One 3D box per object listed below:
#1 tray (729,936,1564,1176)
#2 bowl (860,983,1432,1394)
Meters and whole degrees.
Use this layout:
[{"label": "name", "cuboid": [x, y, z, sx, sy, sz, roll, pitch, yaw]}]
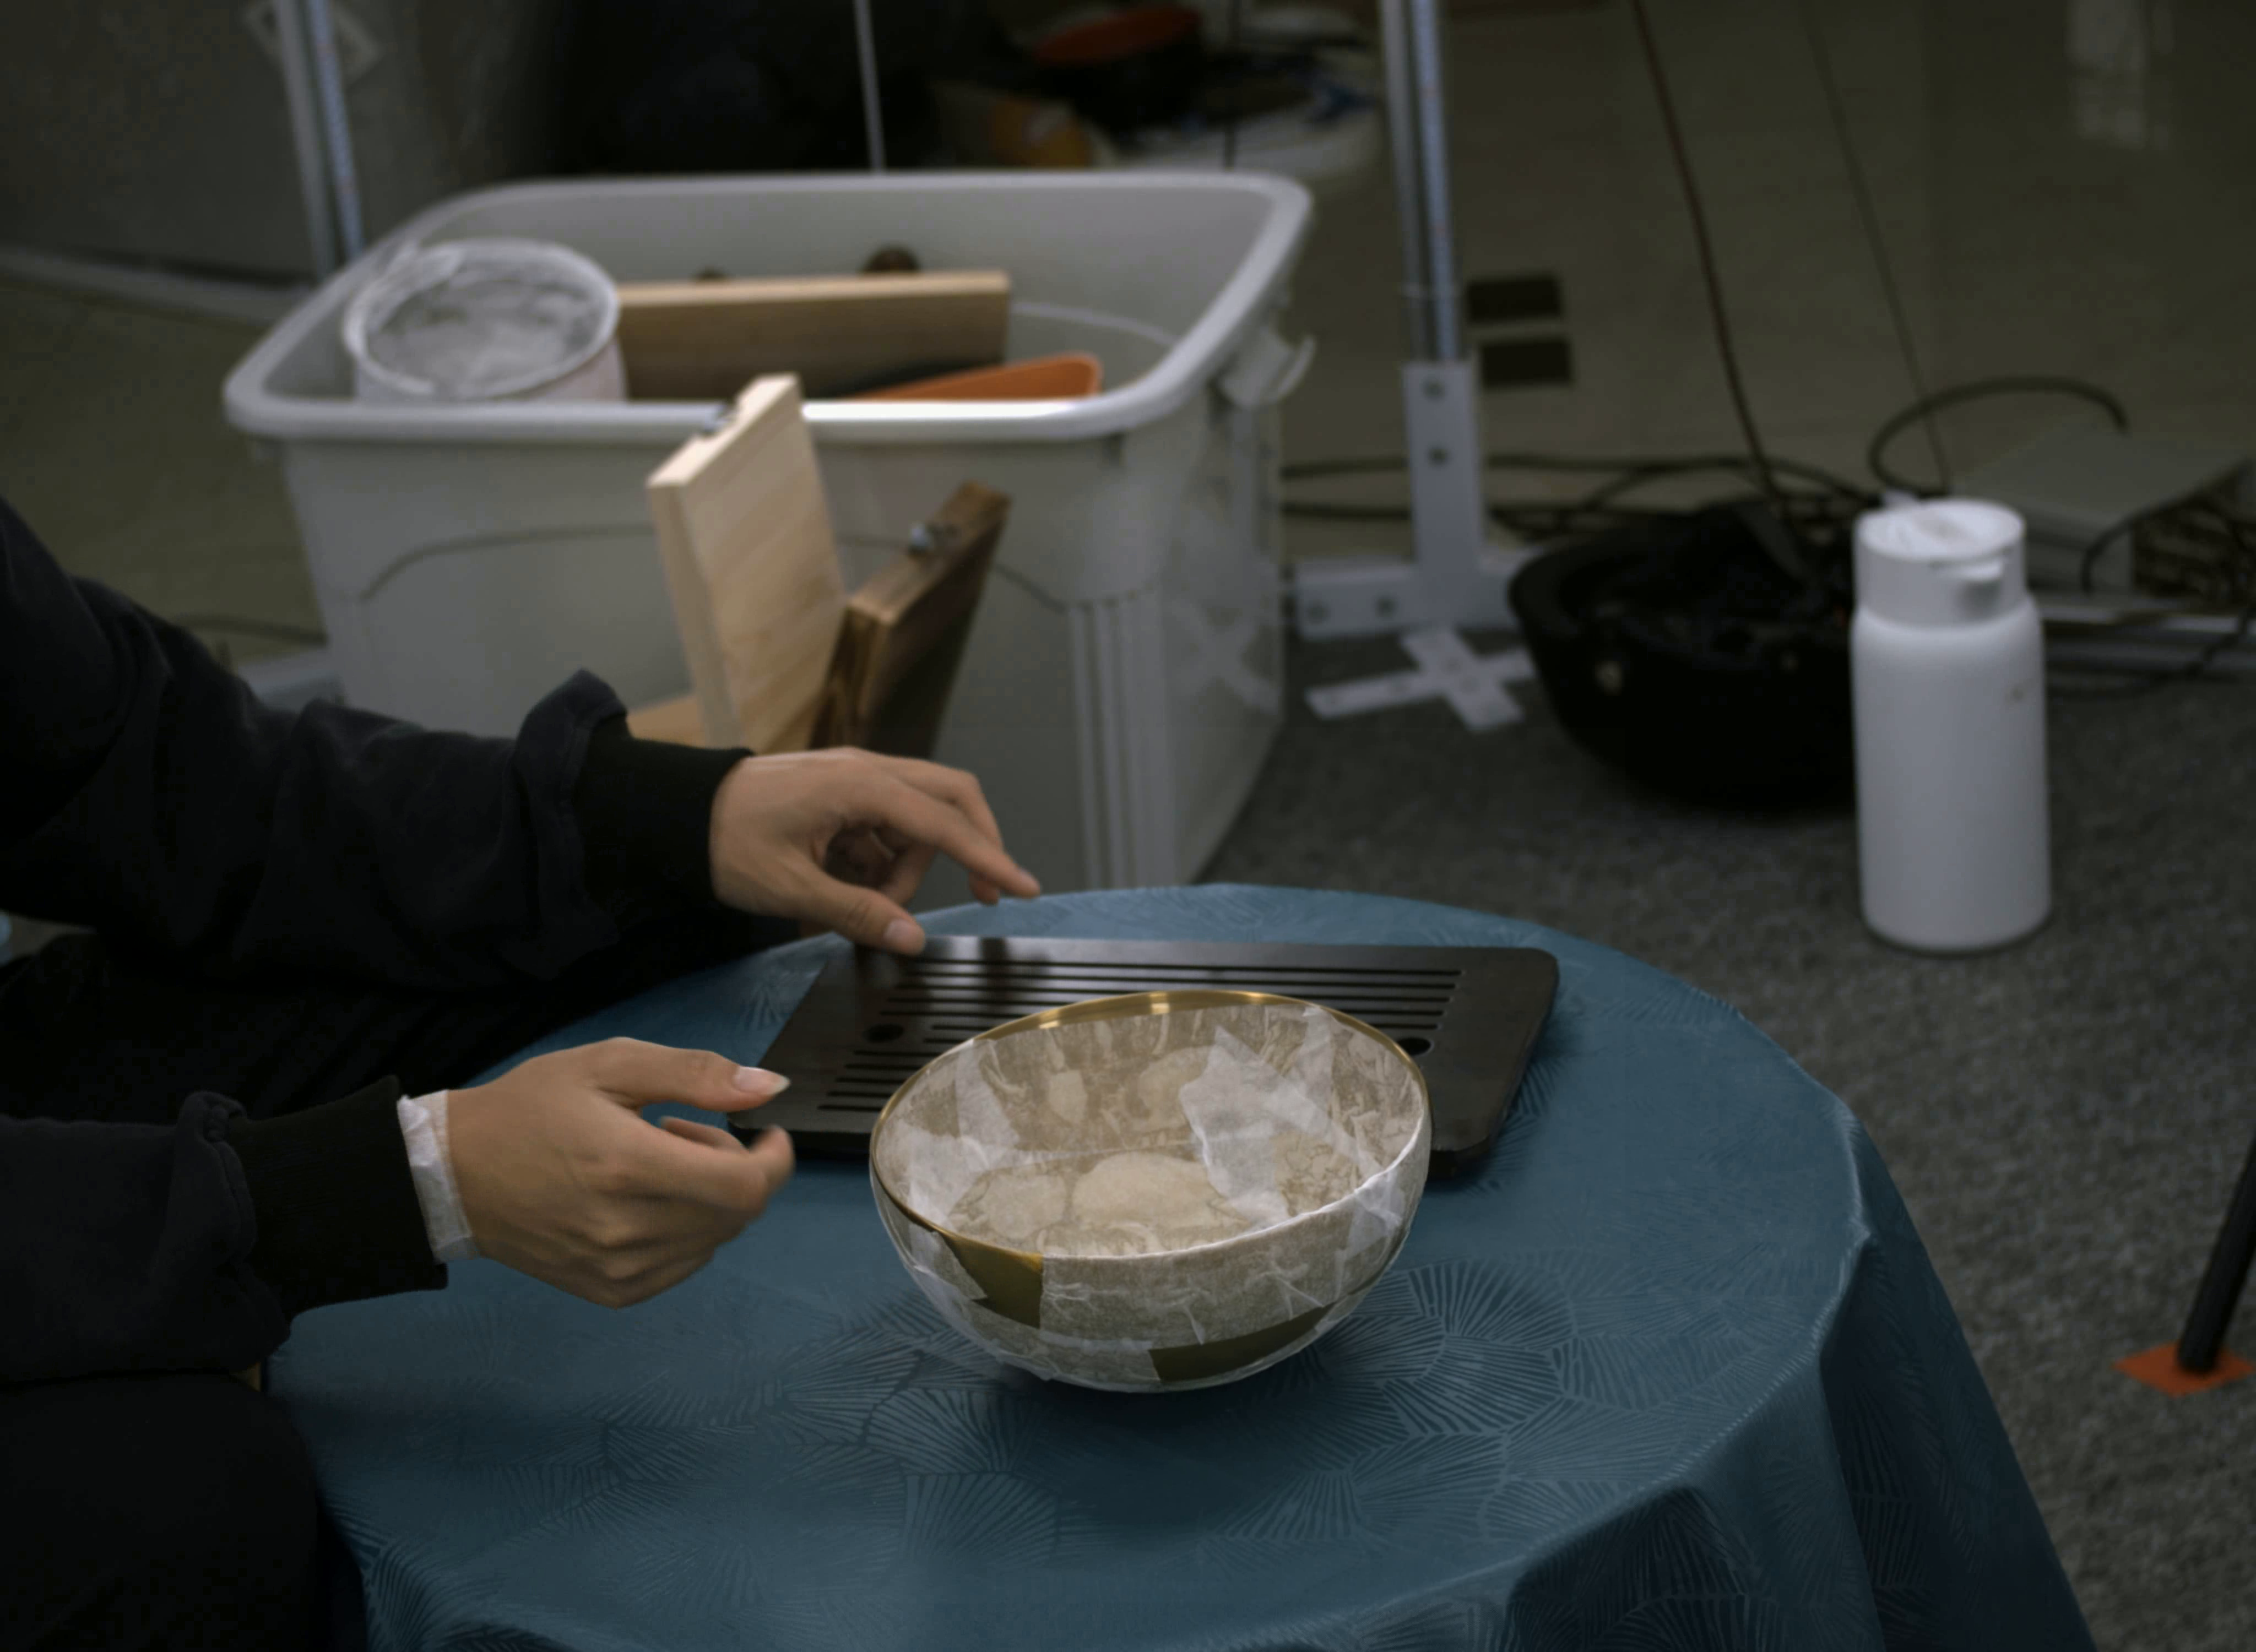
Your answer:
[{"label": "tray", "cuboid": [0.009, 0.090, 2.235, 0.305, 0.019, 0.168, 1, 26, 16]}, {"label": "bowl", "cuboid": [0.011, 0.141, 2.034, 0.214, 0.096, 0.211, -6, 26, 3]}]
